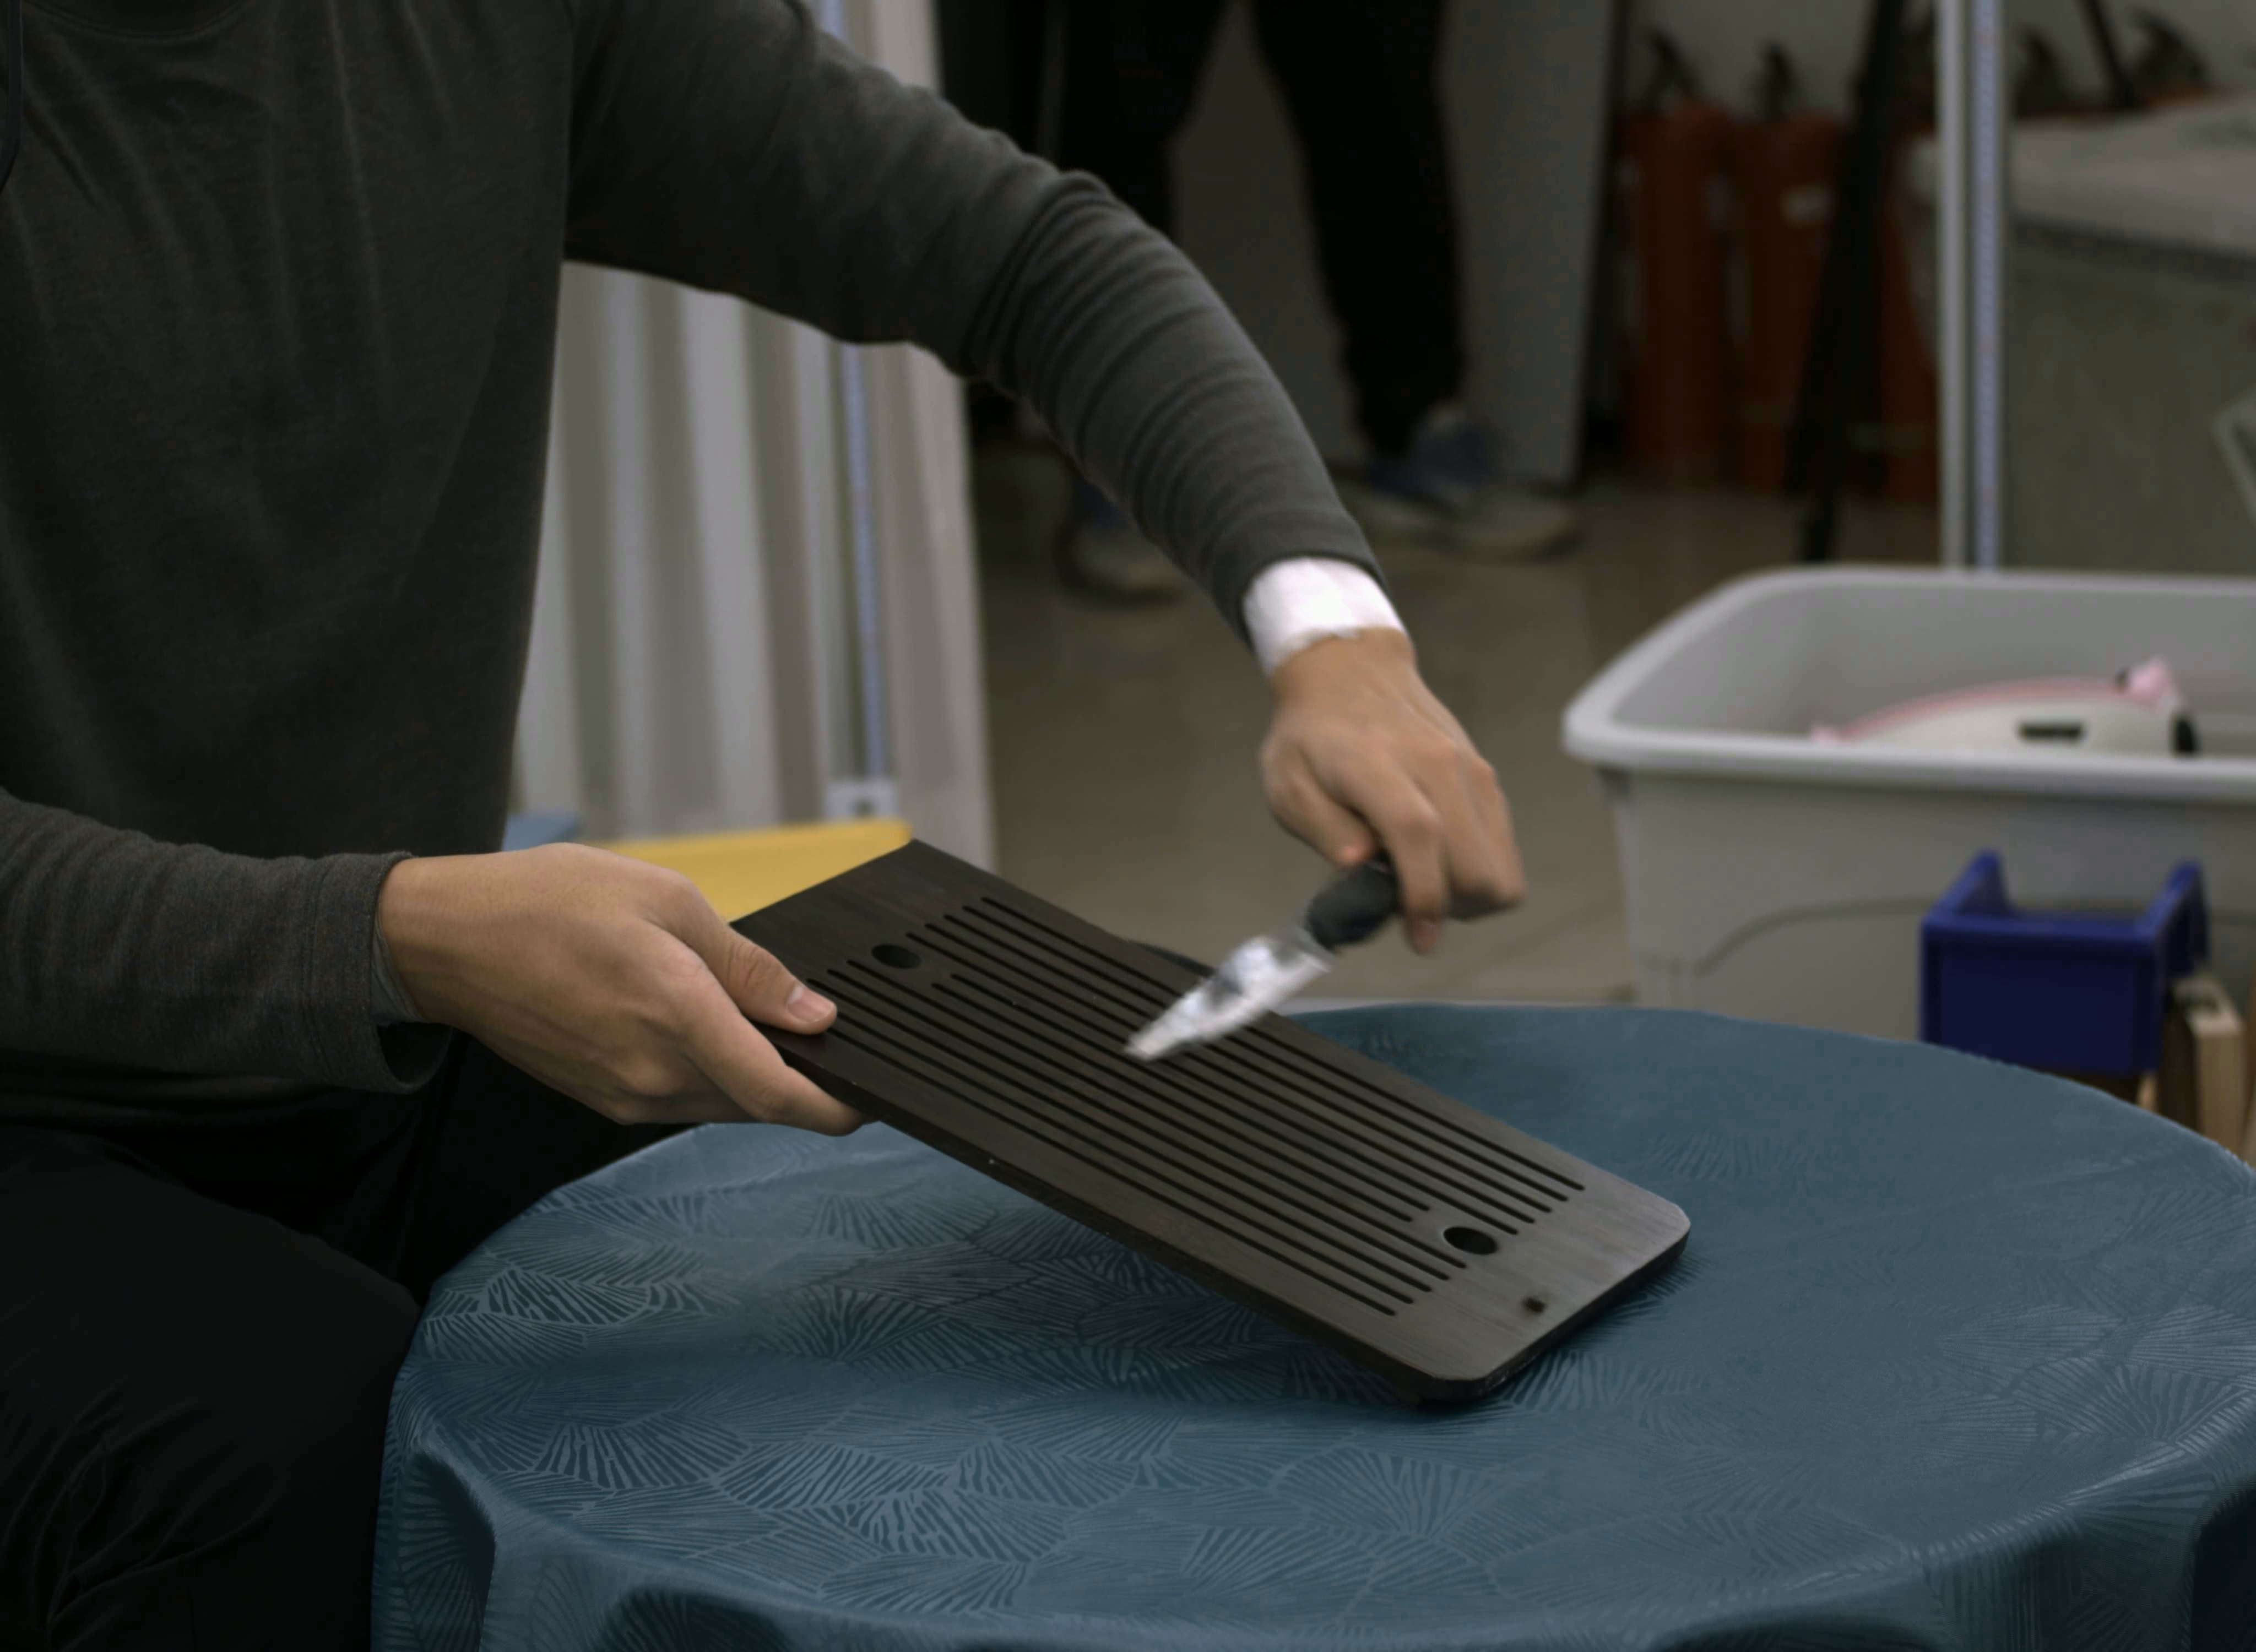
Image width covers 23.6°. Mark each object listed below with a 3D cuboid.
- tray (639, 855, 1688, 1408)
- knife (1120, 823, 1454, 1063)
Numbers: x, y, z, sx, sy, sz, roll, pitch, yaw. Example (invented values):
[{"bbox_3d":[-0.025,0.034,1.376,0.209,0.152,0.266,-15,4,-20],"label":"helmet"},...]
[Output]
[{"bbox_3d":[0.010,0.091,1.670,0.307,0.019,0.167,25,25,25],"label":"tray"},{"bbox_3d":[0.051,0.038,1.785,0.024,0.016,0.235,34,30,15],"label":"knife"}]
